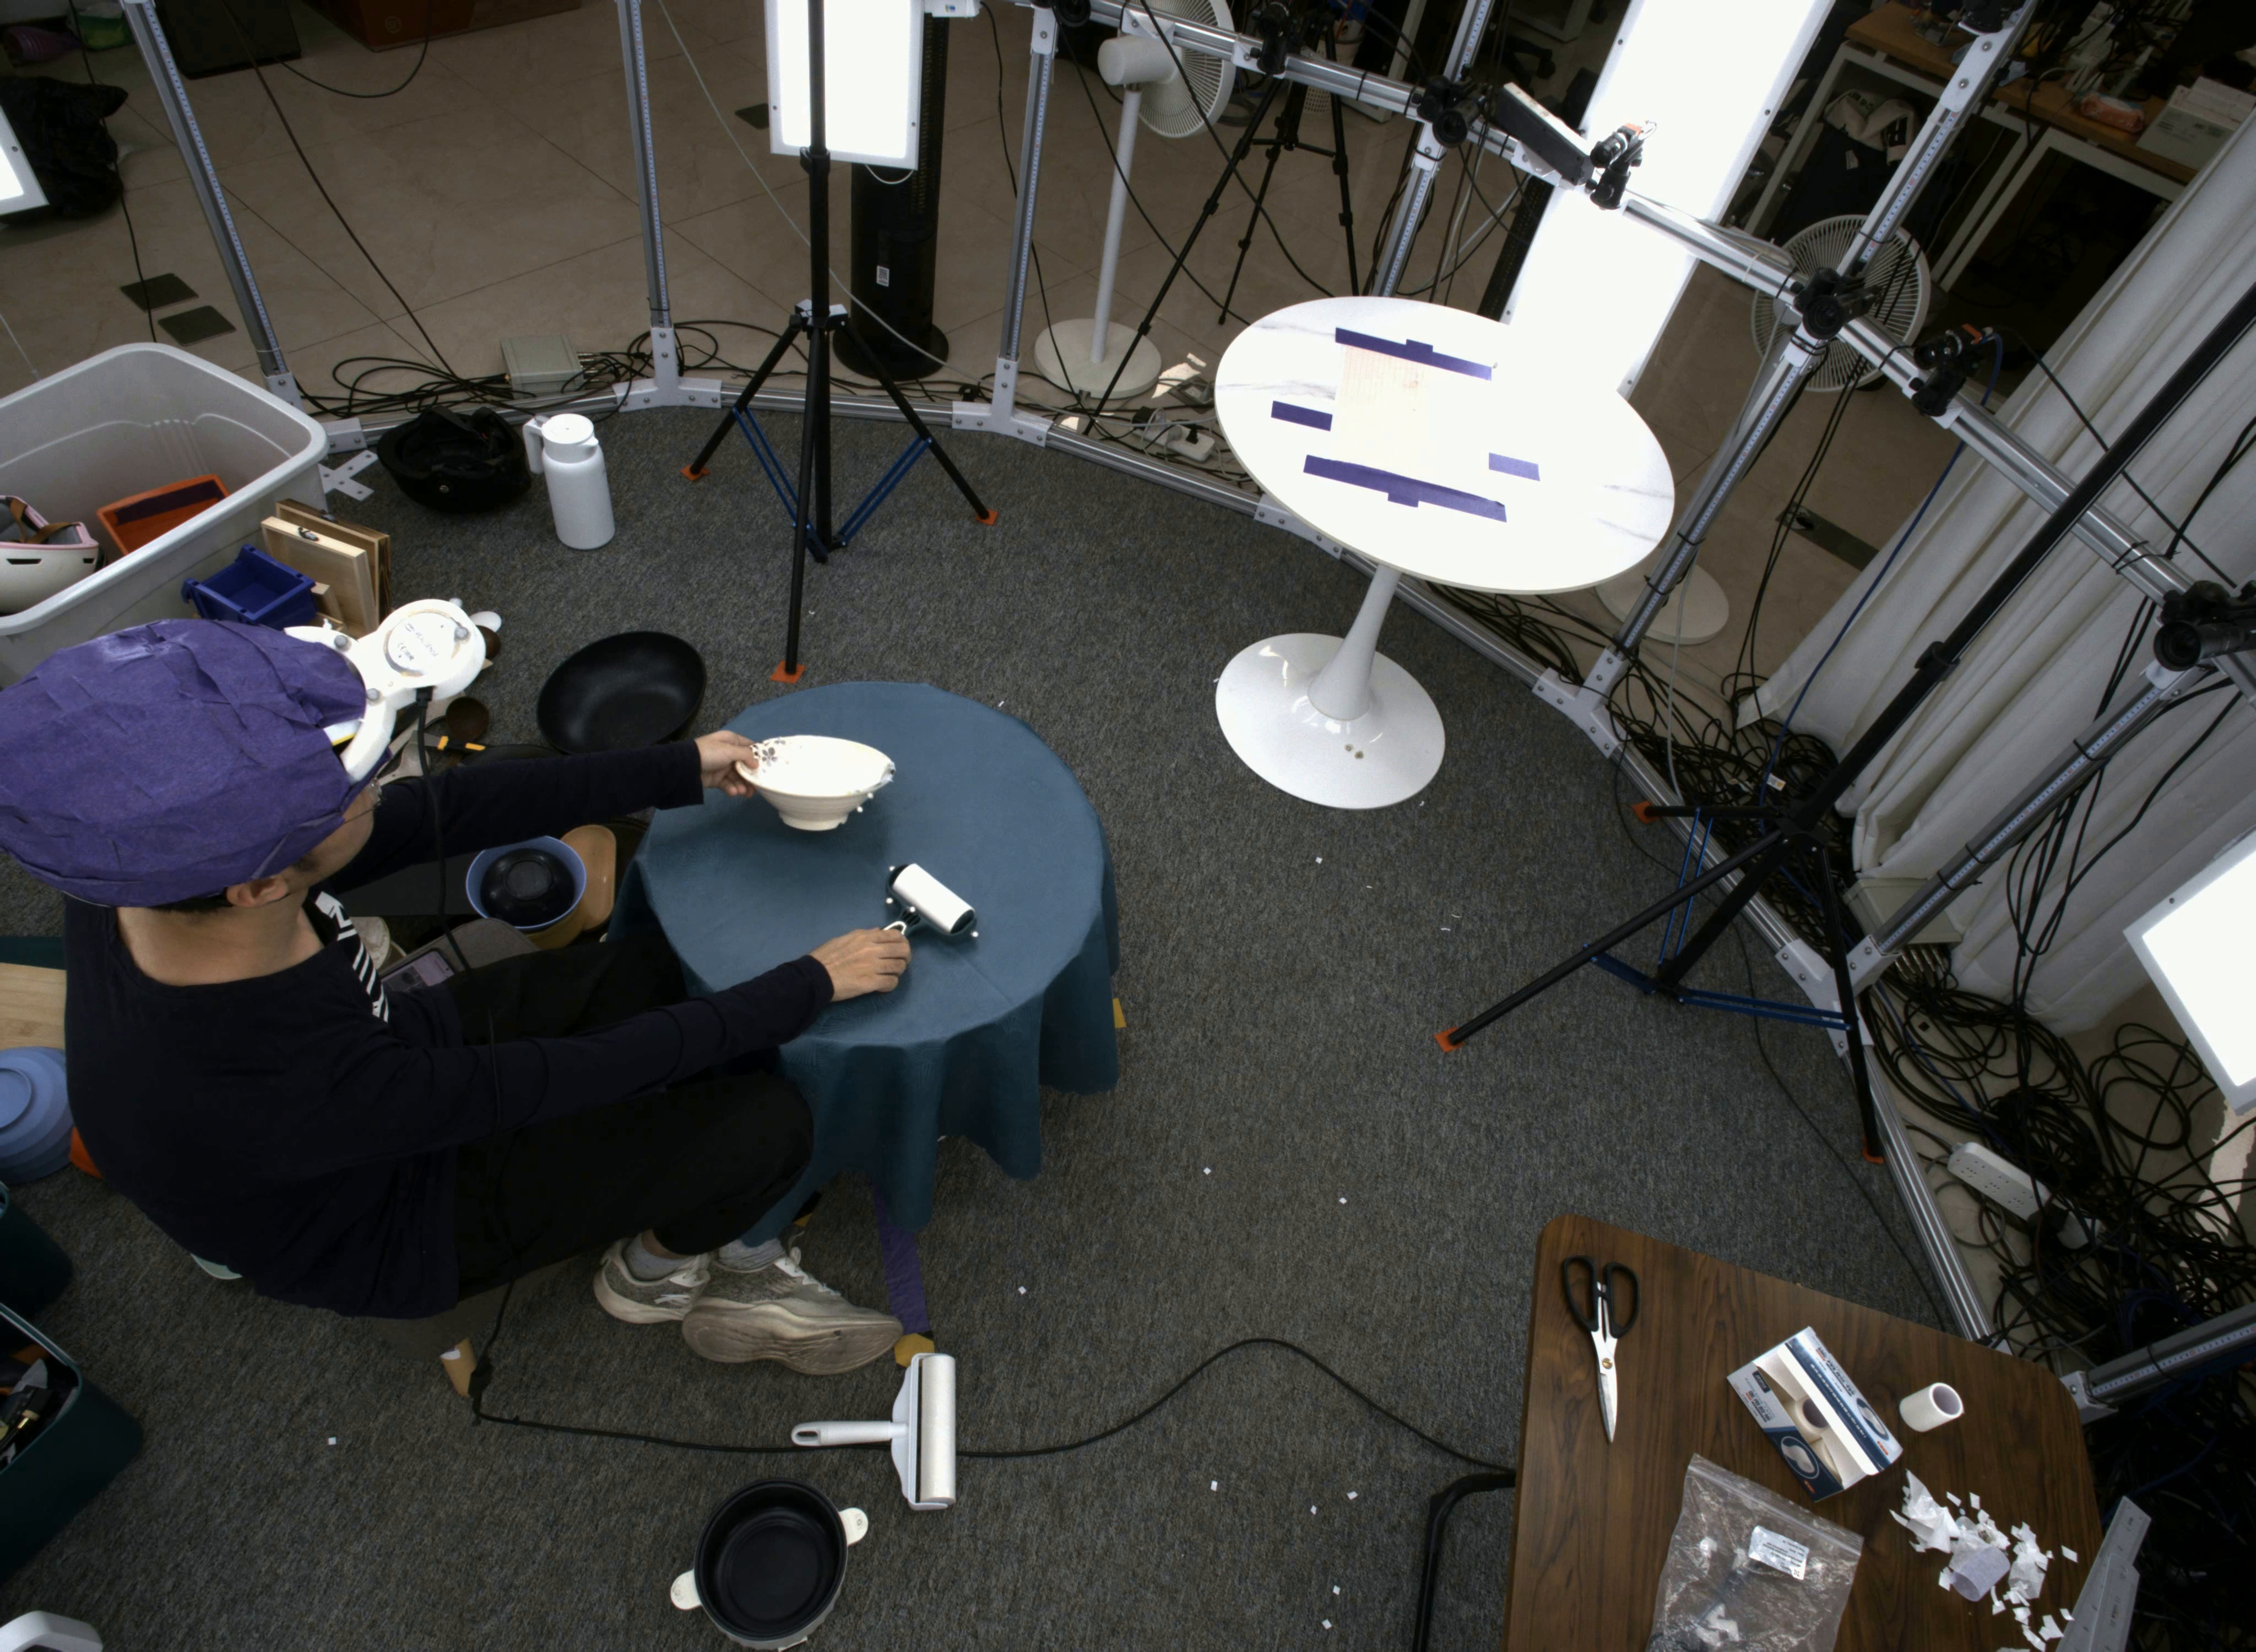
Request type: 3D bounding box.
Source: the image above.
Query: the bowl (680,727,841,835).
[{"bbox_3d":[-0.472,-0.046,1.679,0.202,0.080,0.200,4,35,-1],"label":"bowl"}]

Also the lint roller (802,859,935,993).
[{"bbox_3d":[-0.341,0.134,1.623,0.132,0.049,0.180,35,52,12],"label":"lint roller"}]
